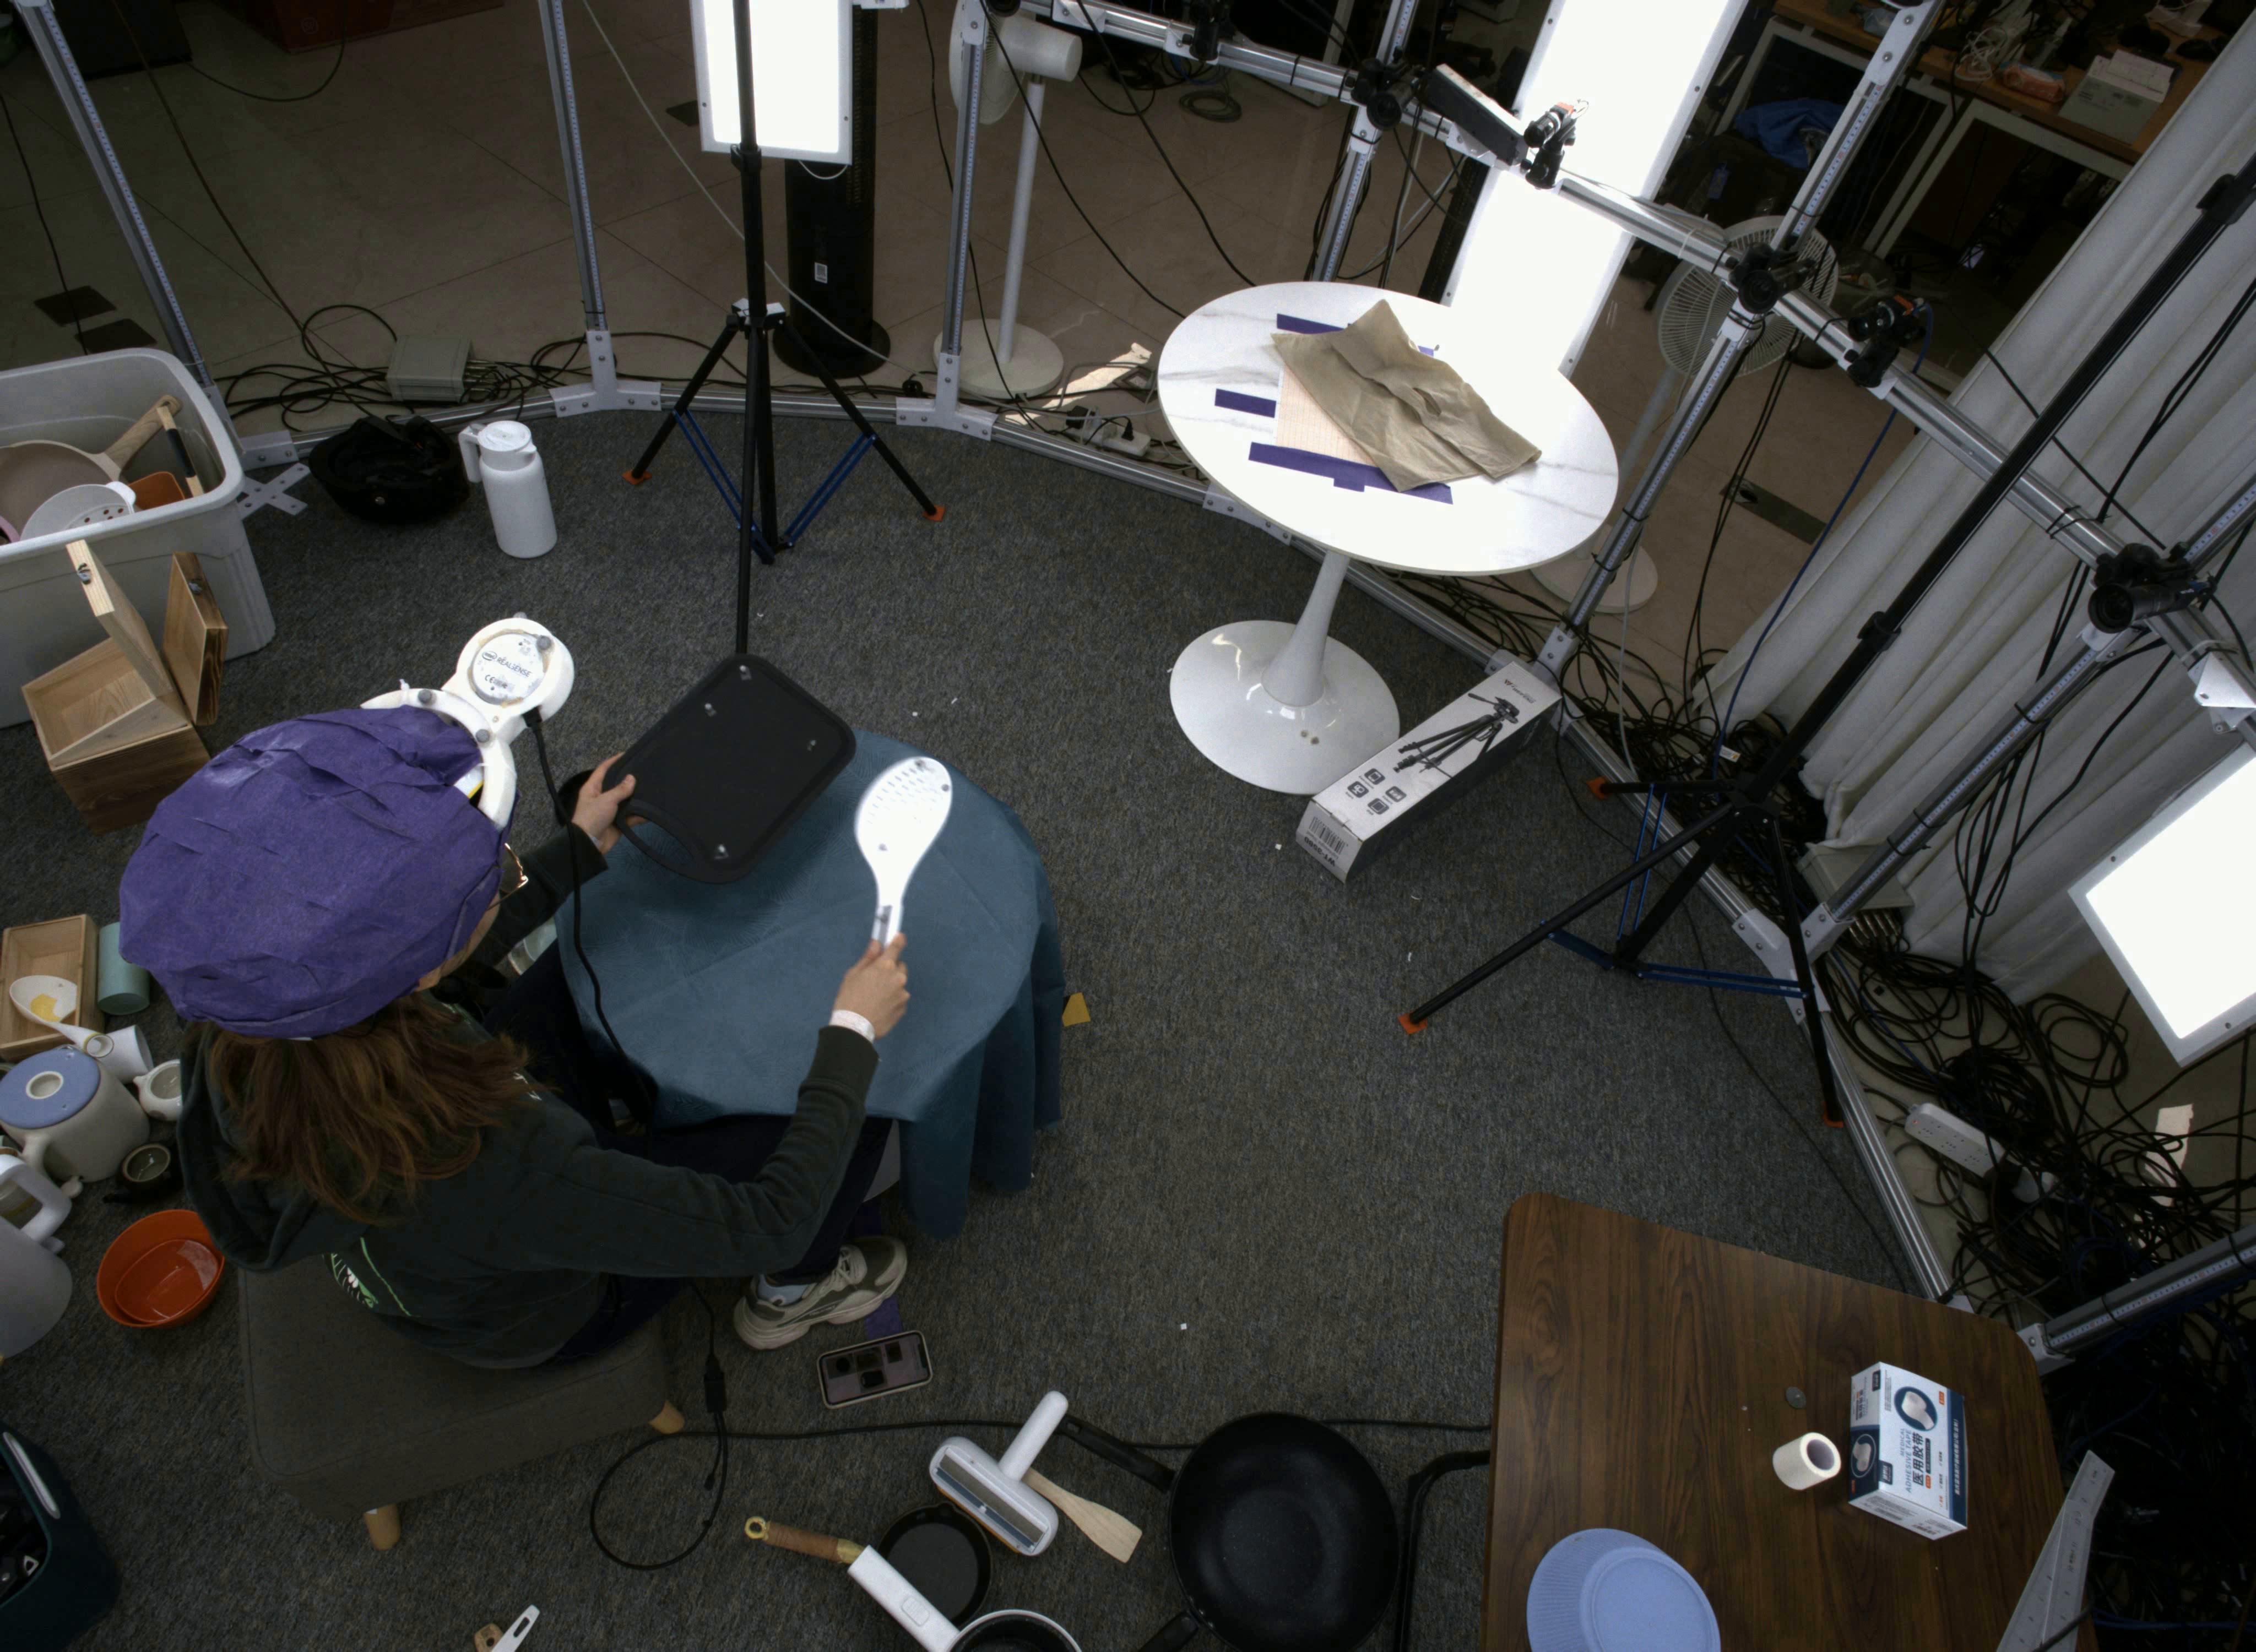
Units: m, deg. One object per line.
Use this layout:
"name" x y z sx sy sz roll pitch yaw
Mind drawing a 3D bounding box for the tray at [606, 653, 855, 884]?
"tray" -0.497 -0.074 1.618 0.212 0.010 0.324 39 52 -7

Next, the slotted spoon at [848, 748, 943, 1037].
"slotted spoon" -0.277 0.069 1.479 0.132 0.047 0.345 -8 57 24
